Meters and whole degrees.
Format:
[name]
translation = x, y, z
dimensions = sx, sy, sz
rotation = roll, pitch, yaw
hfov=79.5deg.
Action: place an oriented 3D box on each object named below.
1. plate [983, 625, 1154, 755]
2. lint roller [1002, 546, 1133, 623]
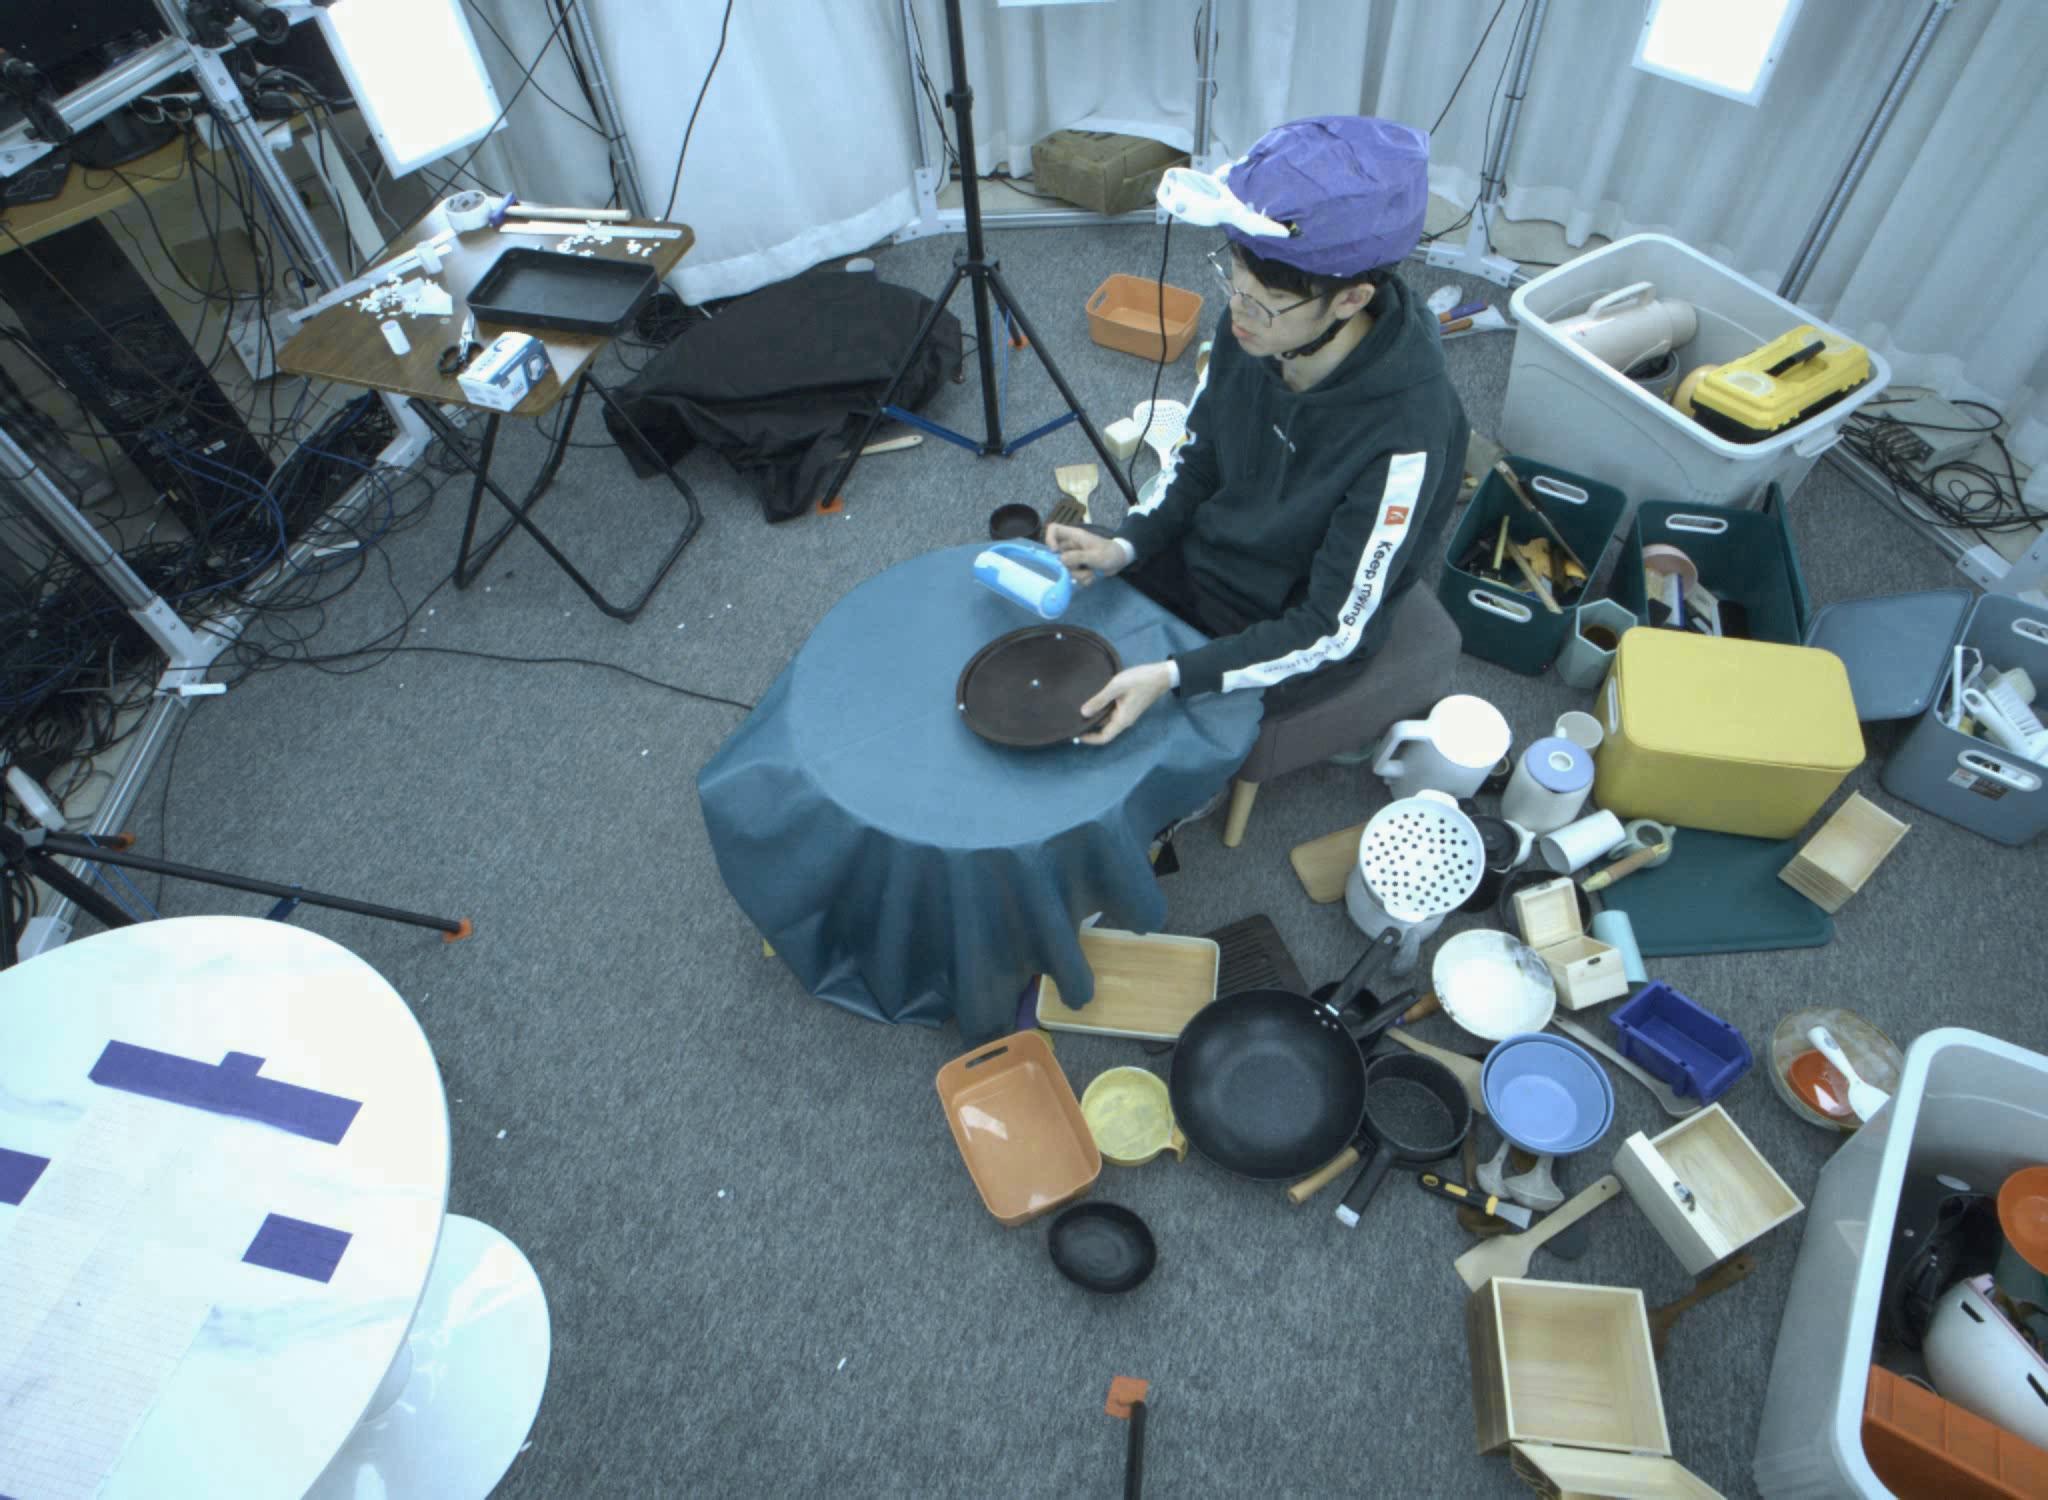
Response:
[plate]
translation = 0.066, -0.087, 1.807
dimensions = 0.254, 0.029, 0.252
rotation = -5, 48, 7
[lint roller]
translation = 0.086, -0.265, 1.875
dimensions = 0.183, 0.068, 0.223
rotation = -20, 32, -27
